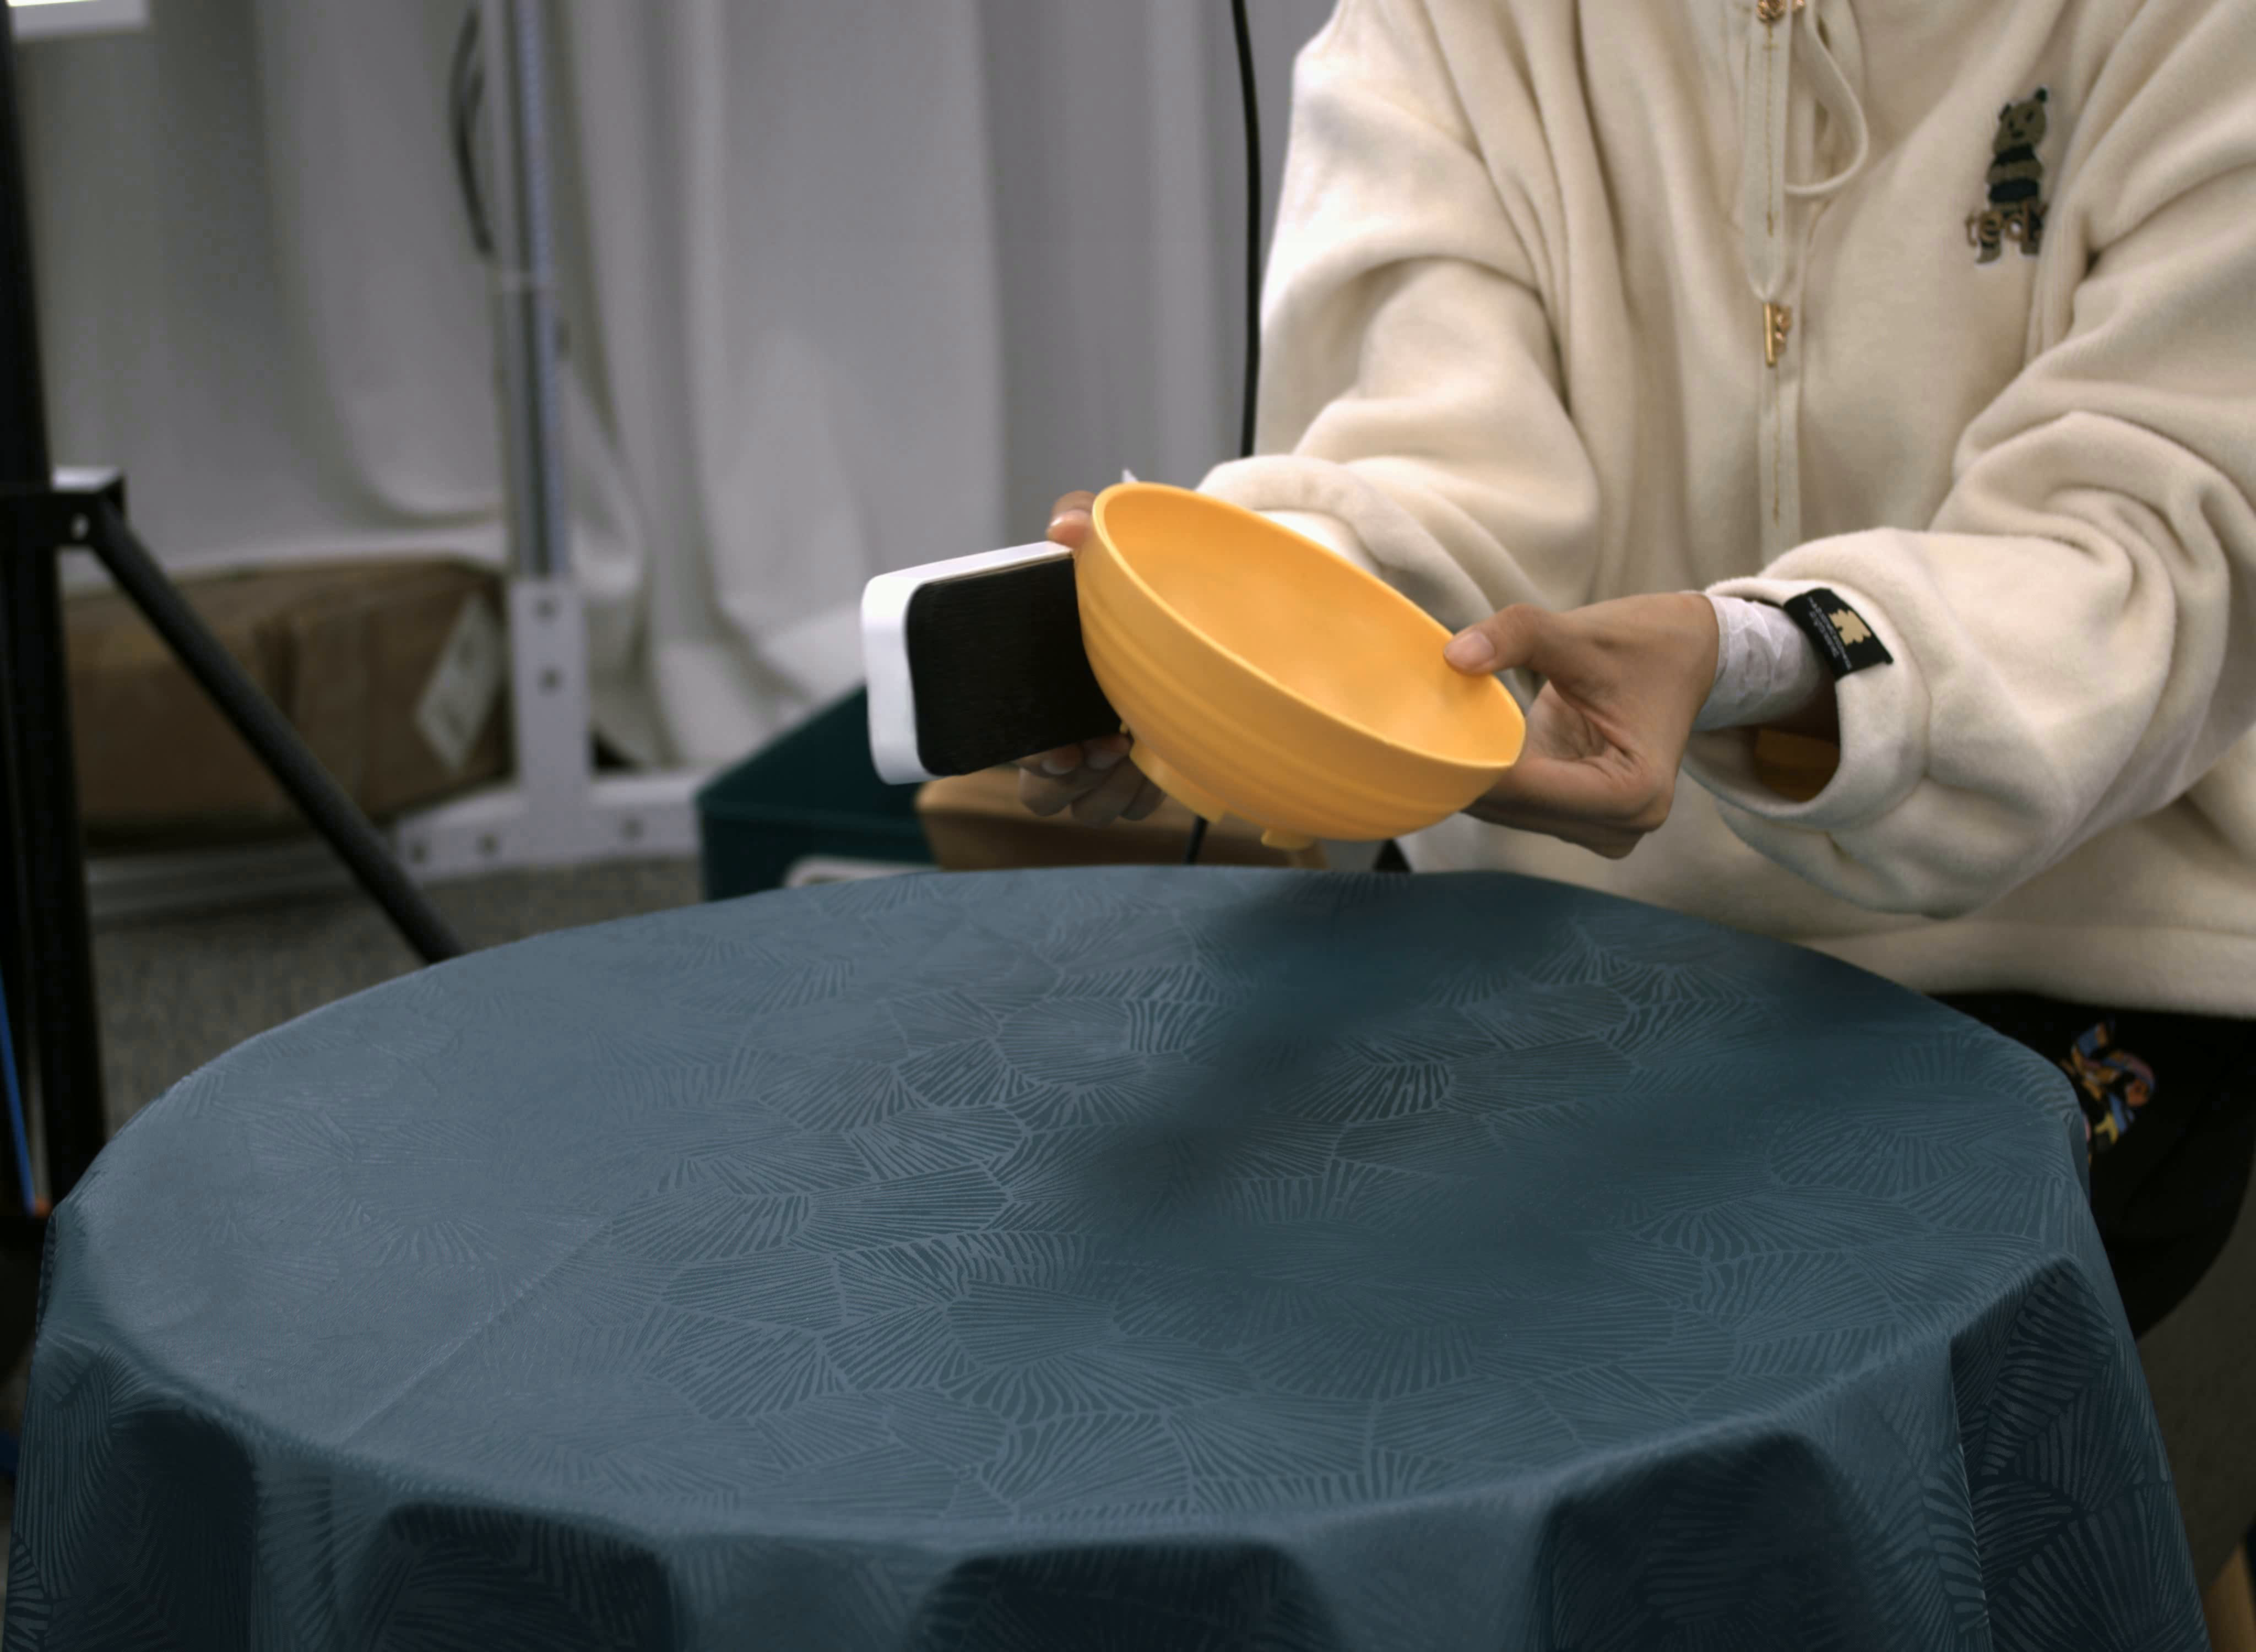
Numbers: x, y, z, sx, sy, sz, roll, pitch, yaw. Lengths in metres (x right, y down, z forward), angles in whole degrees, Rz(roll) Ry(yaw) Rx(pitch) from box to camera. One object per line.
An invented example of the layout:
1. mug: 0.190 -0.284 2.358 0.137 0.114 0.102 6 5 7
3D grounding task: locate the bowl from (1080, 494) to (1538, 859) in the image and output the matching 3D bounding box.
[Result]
1. bowl: 0.042 -0.033 1.536 0.143 0.060 0.146 24 22 -12

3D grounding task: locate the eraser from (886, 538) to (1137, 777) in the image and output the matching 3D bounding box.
1. eraser: -0.032 -0.051 1.565 0.035 0.063 0.129 1 9 28
